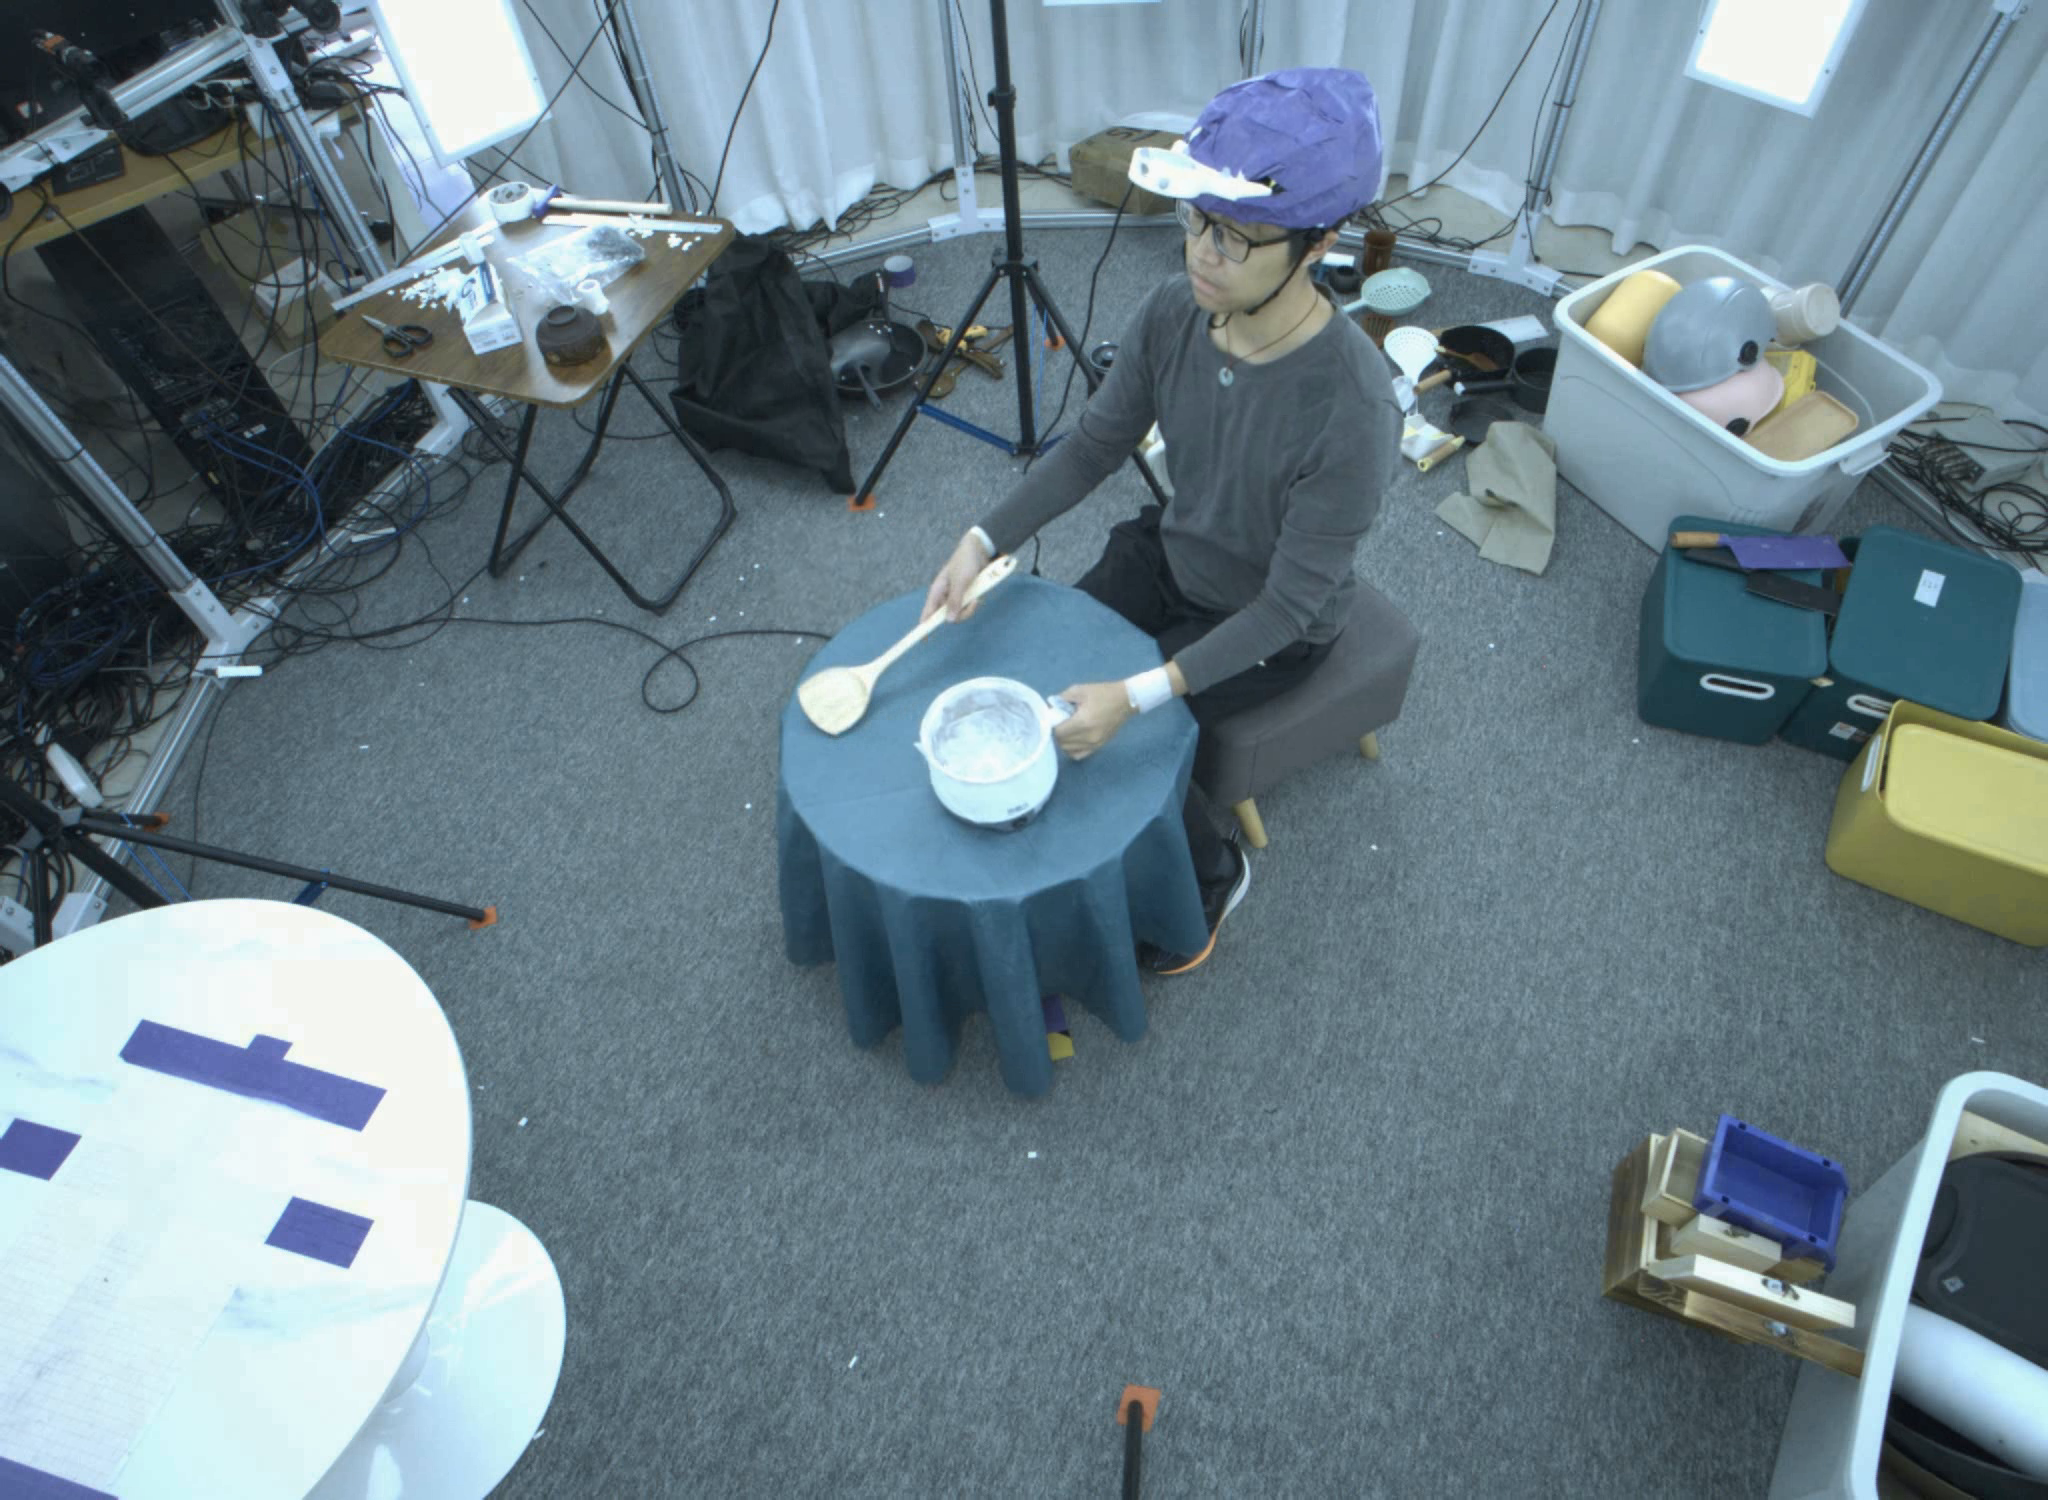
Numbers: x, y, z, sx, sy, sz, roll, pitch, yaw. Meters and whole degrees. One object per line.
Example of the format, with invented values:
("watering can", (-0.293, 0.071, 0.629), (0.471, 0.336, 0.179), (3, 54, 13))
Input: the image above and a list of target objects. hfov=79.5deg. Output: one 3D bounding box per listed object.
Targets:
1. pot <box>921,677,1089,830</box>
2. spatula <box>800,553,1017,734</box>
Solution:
("pot", (-0.020, -0.004, 1.710), (0.235, 0.138, 0.175), (-24, 57, -12))
("spatula", (-0.167, -0.172, 1.837), (0.391, 0.018, 0.095), (-40, 88, -5))
